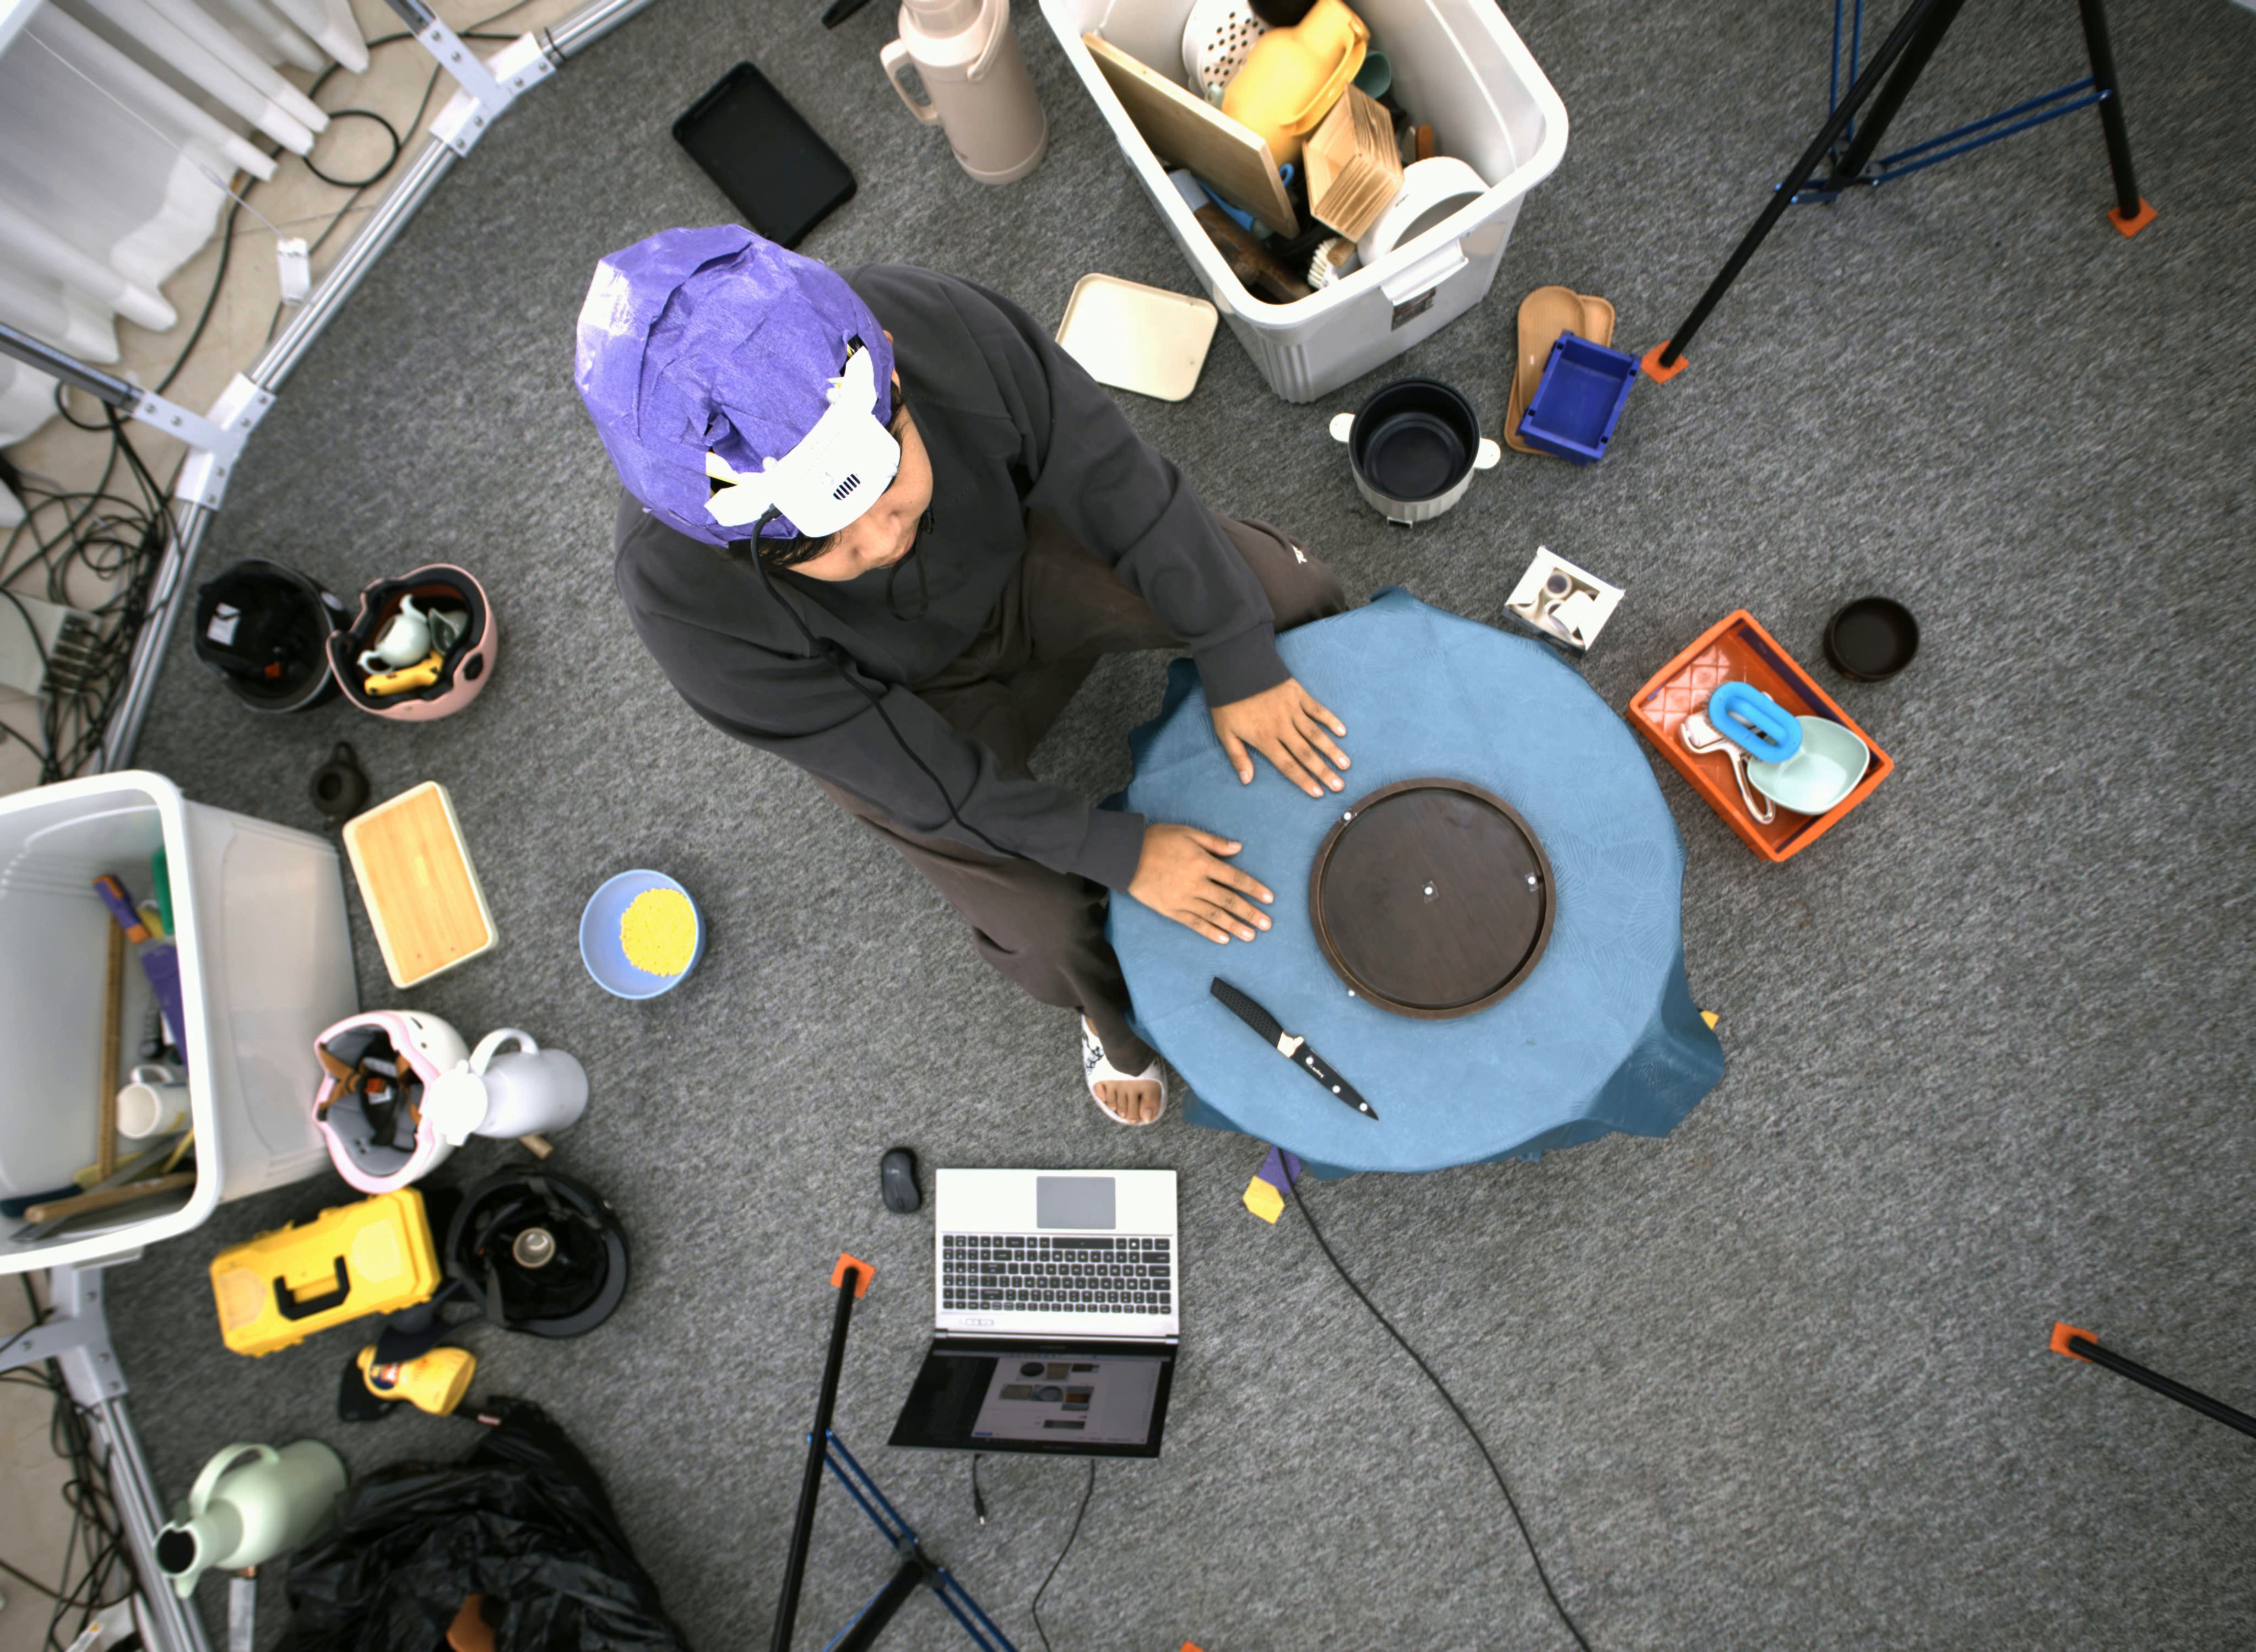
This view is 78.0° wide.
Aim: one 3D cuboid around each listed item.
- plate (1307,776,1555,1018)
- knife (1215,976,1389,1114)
[{"bbox_3d":[0.315,0.072,1.440,0.256,0.029,0.253,-1,86,12],"label":"plate"},{"bbox_3d":[0.183,0.232,1.463,0.225,0.017,0.026,39,87,10],"label":"knife"}]
